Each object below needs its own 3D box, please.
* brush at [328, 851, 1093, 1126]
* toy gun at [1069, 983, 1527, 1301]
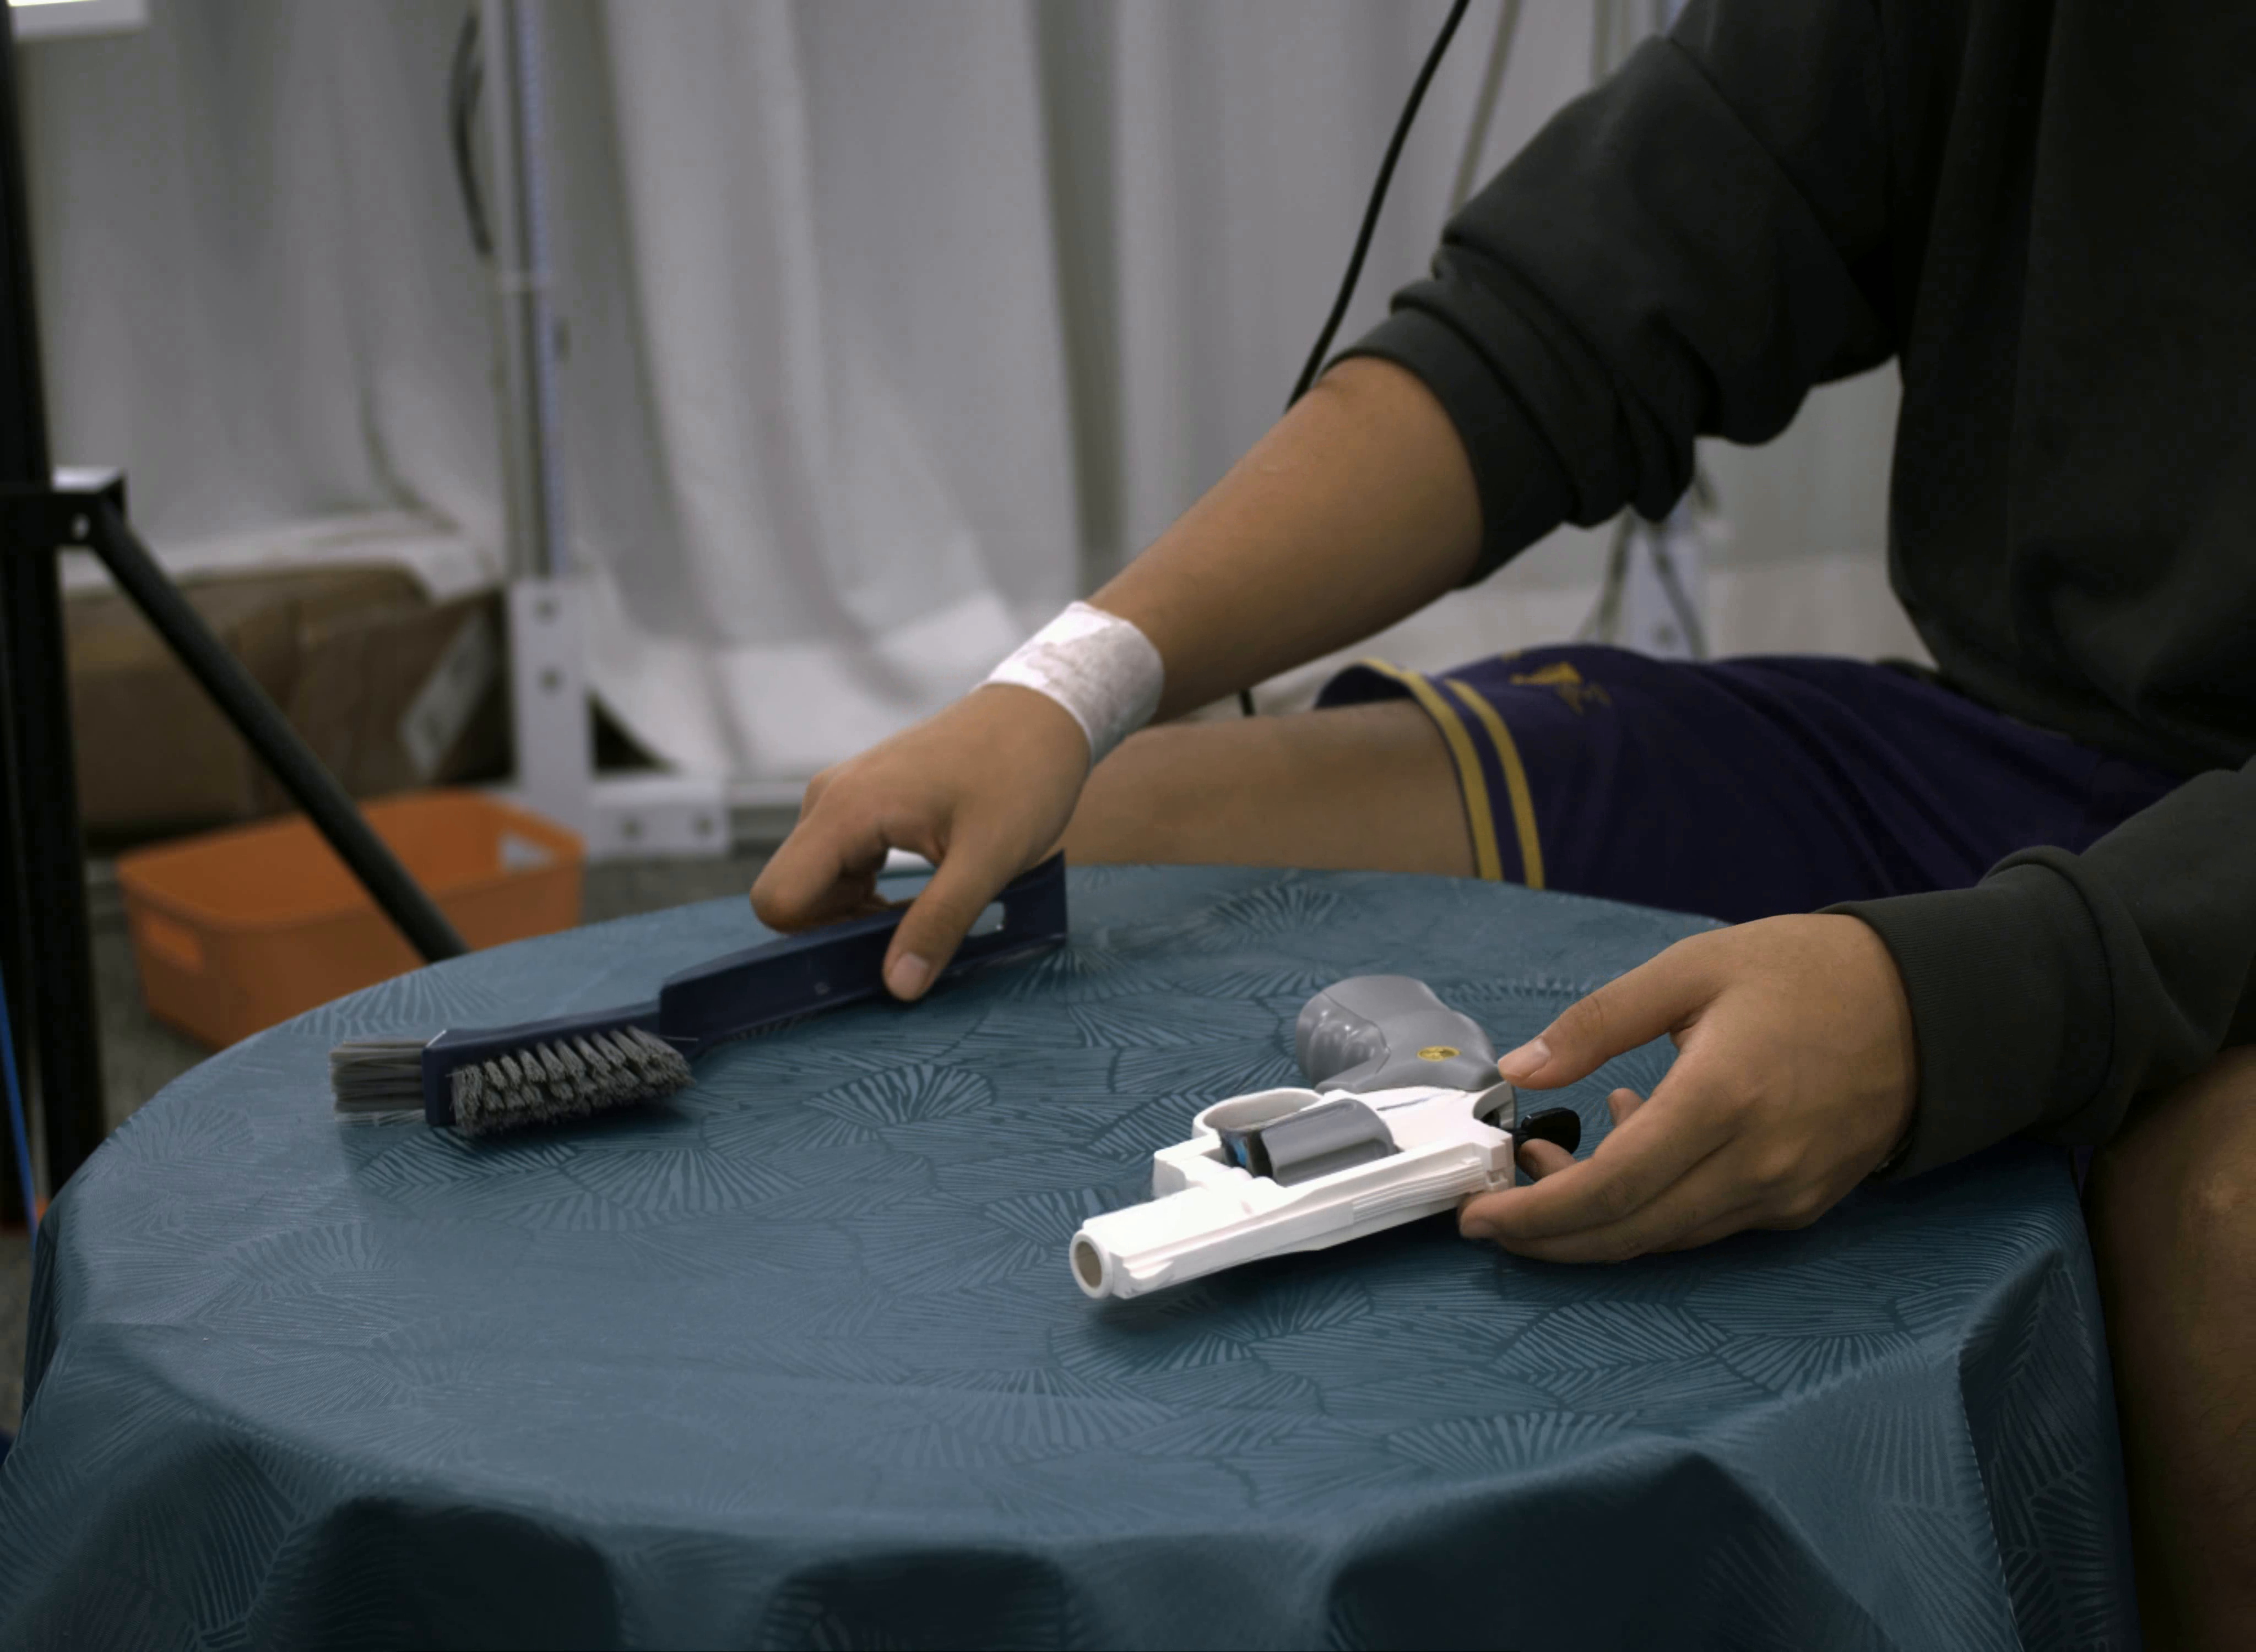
[{"bbox_3d":[-0.126,0.051,1.725,0.098,0.033,0.267,12,22,43],"label":"brush"},{"bbox_3d":[0.045,0.092,1.542,0.204,0.039,0.145,-13,17,-33],"label":"toy gun"}]
